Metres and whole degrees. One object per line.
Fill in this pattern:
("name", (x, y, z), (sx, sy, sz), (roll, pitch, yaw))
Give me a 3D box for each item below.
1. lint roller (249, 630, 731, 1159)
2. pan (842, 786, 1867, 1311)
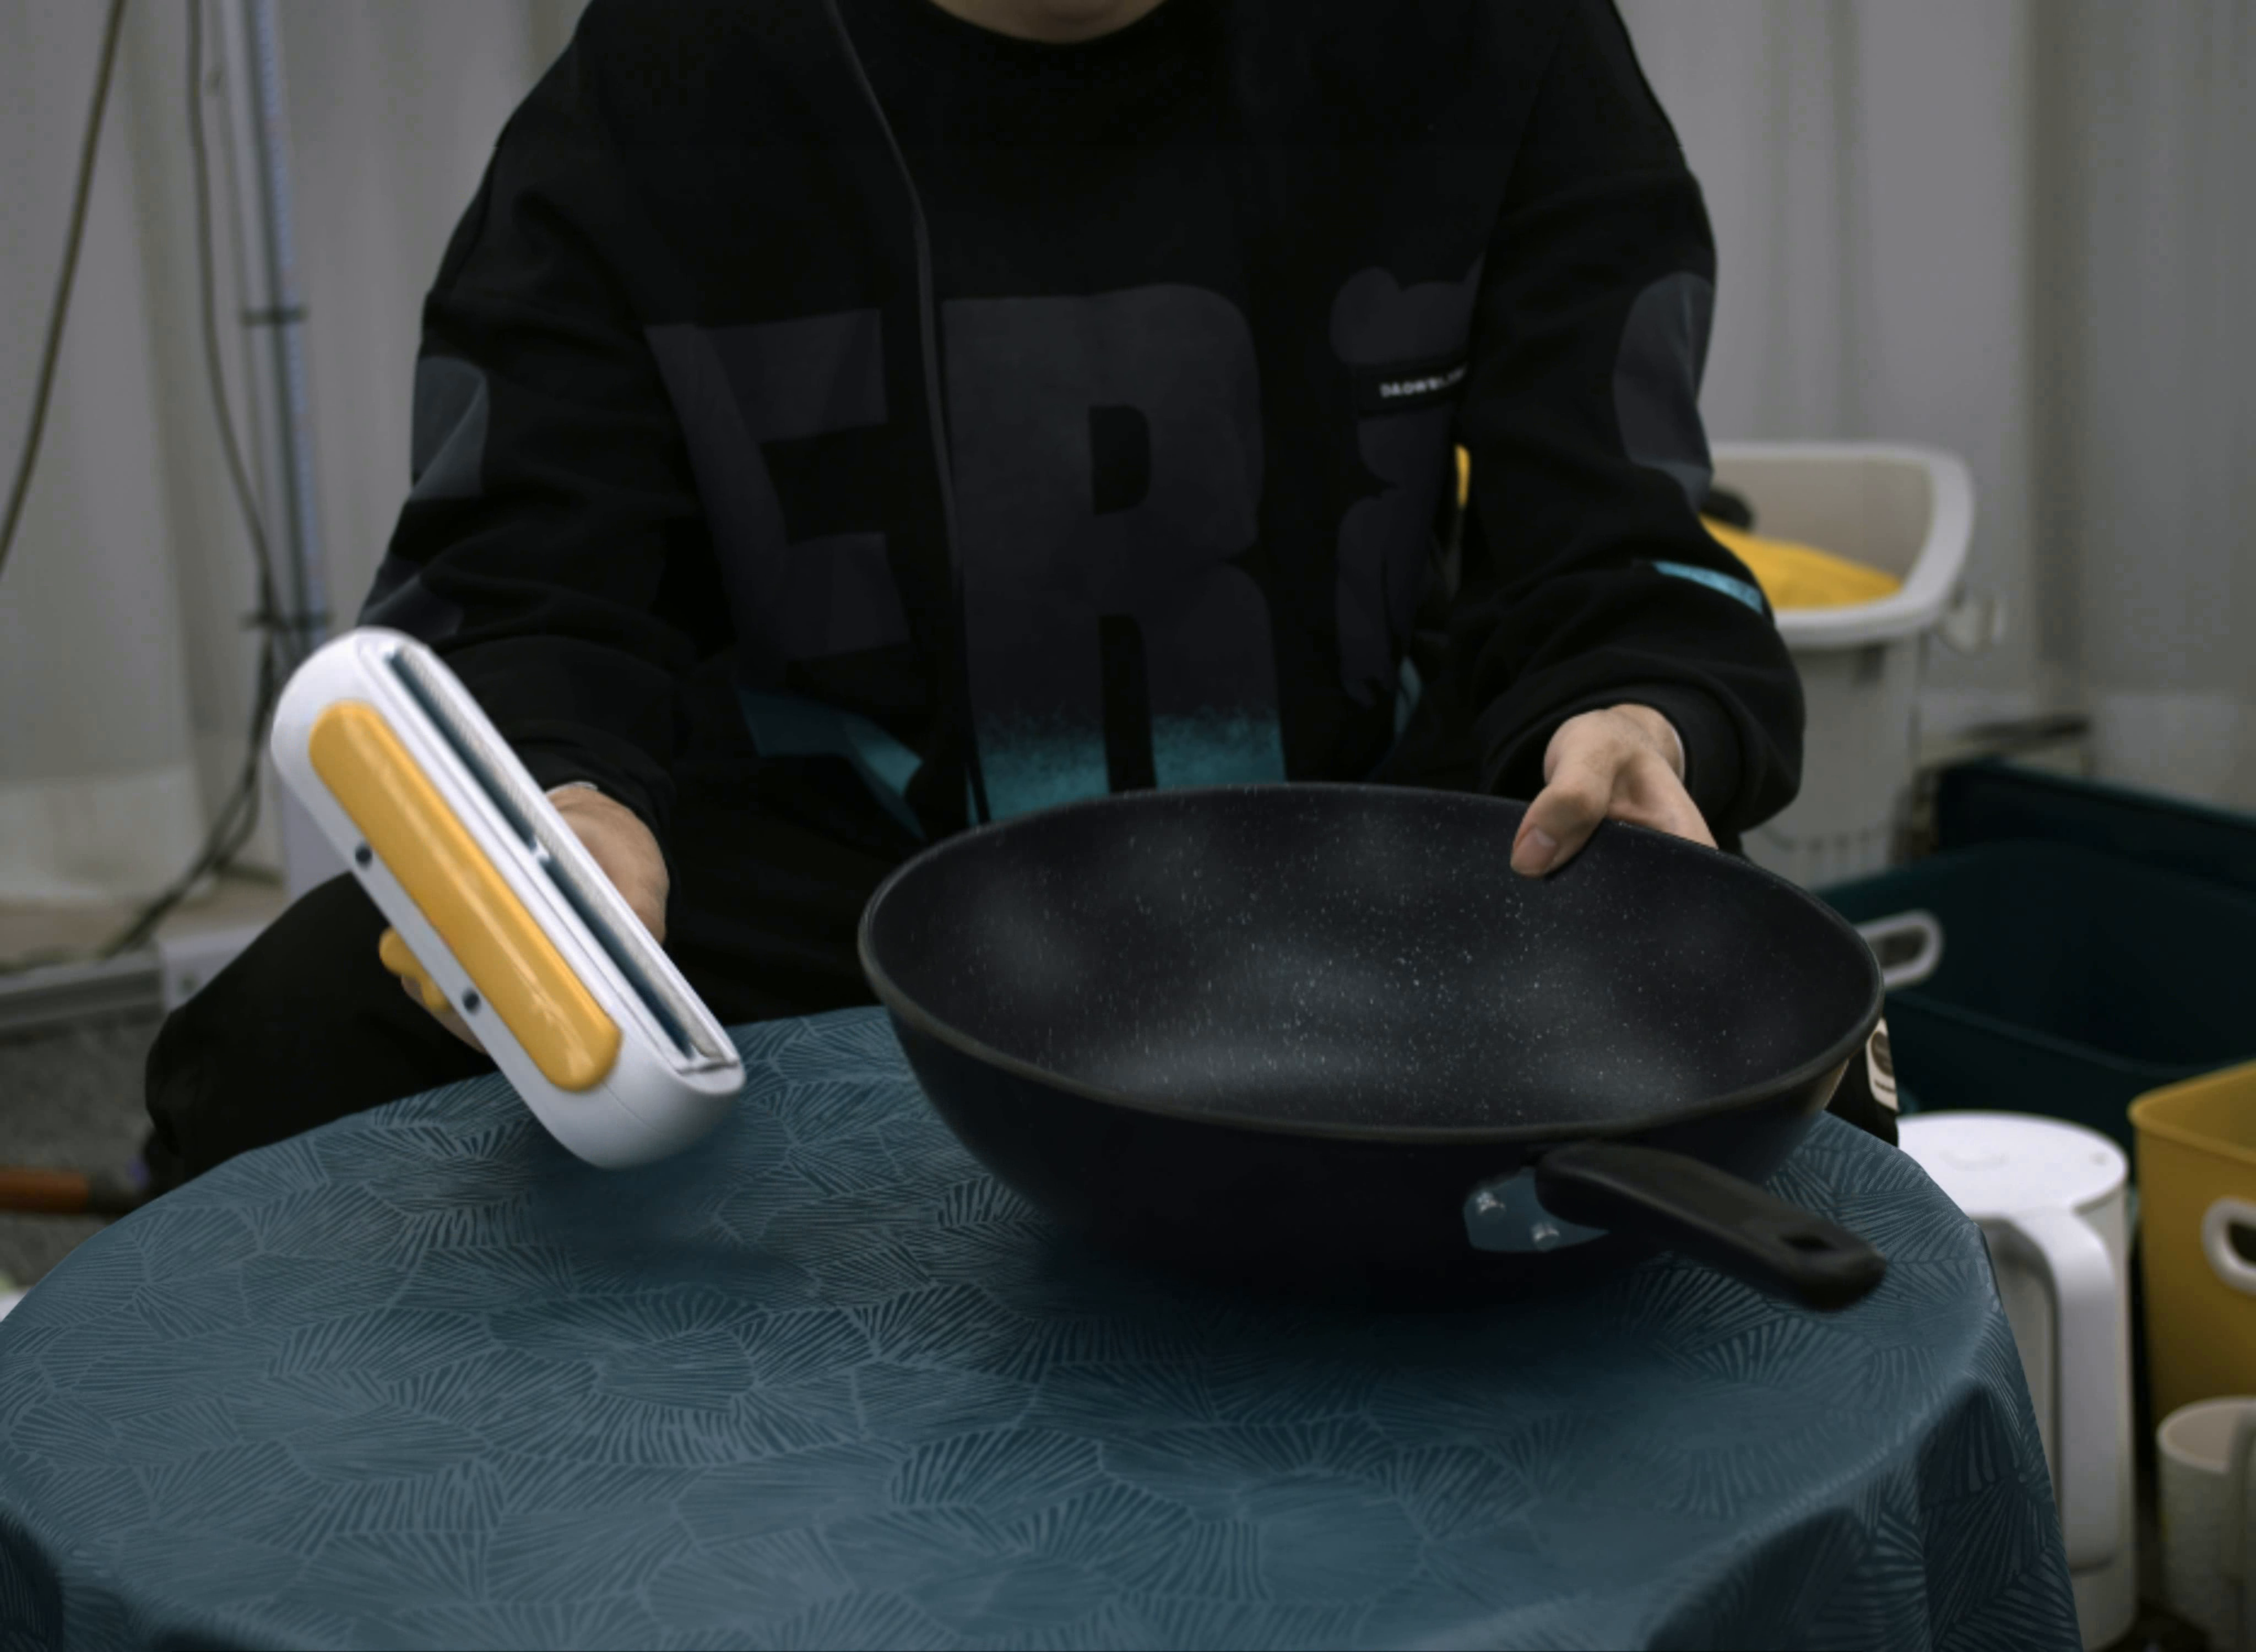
("lint roller", (-0.183, 0.031, 1.740), (0.194, 0.074, 0.191), (46, 9, 17))
("pan", (0.095, 0.089, 1.584), (0.309, 0.111, 0.481), (-6, 19, -18))
